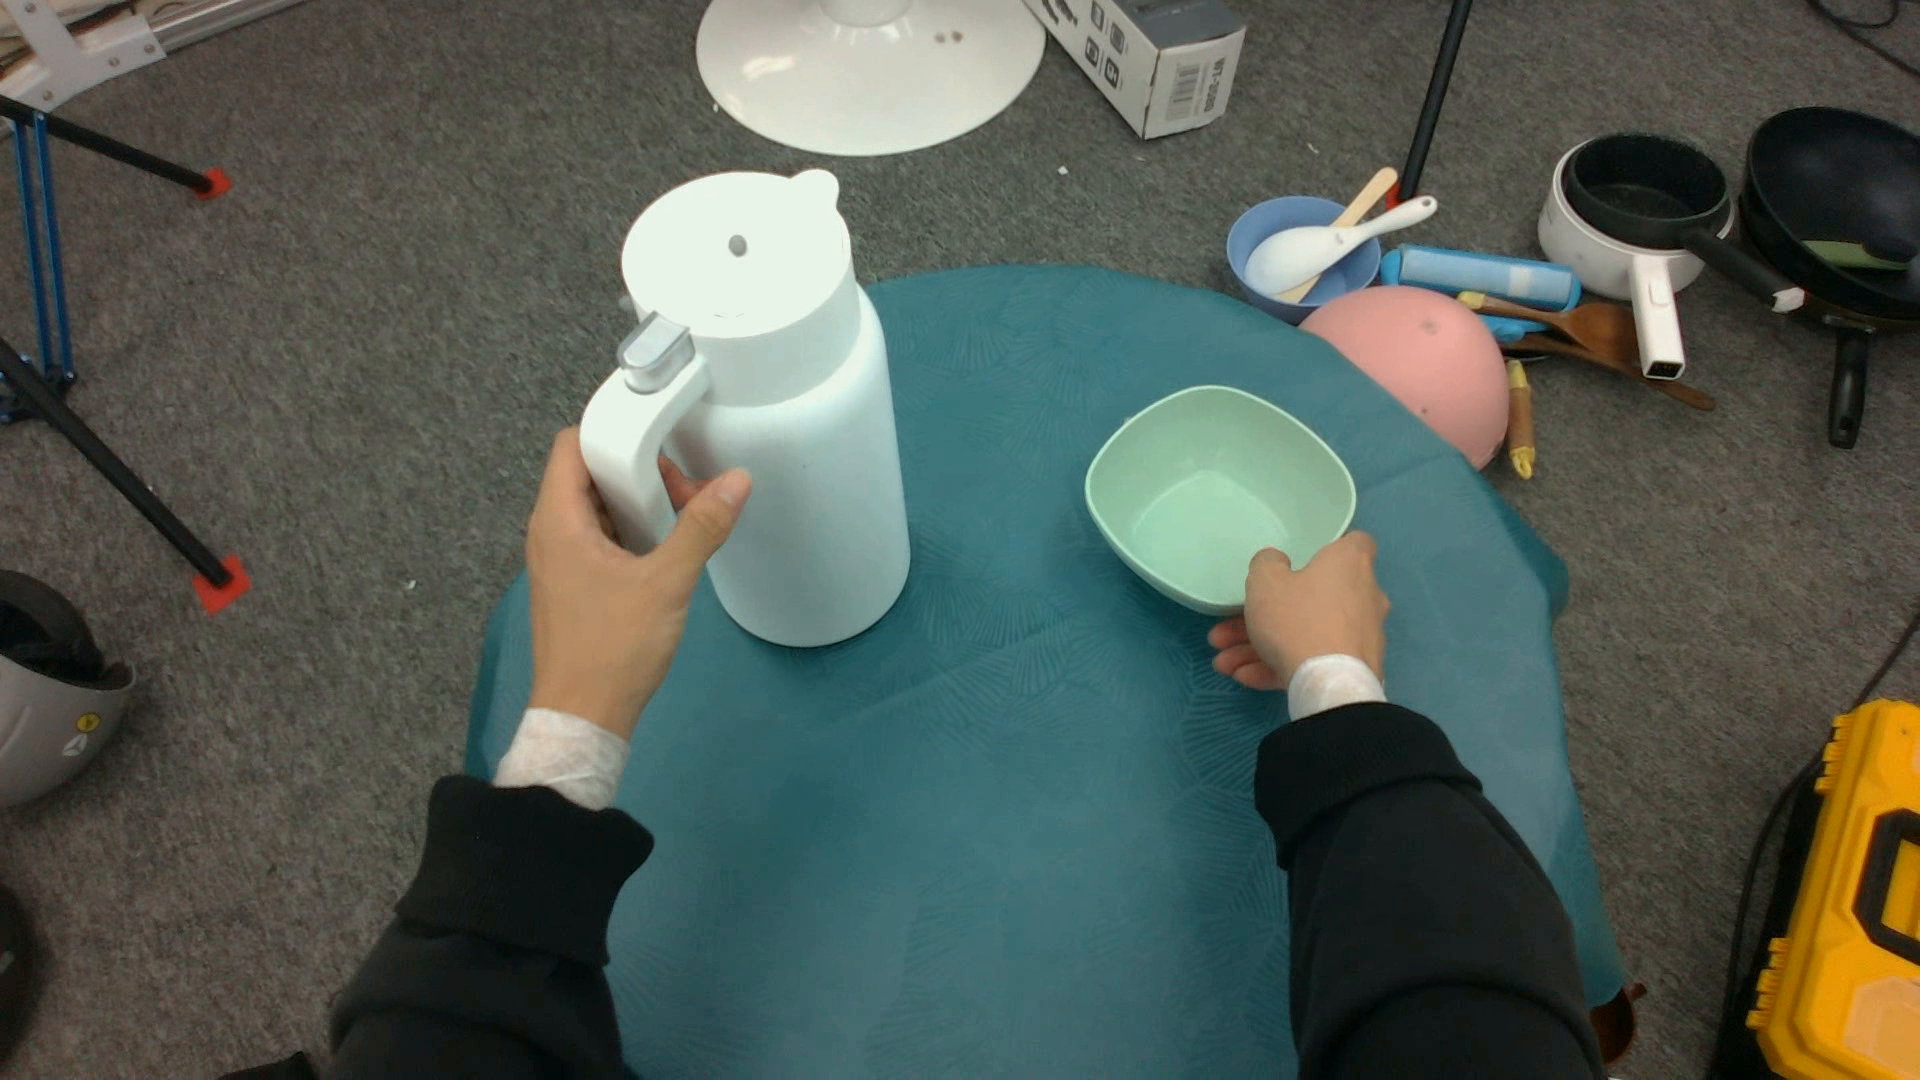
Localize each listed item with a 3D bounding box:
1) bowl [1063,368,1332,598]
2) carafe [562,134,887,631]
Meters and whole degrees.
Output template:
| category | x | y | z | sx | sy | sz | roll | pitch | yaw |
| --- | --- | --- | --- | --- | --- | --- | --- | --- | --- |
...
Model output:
| category | x | y | z | sx | sy | sz | roll | pitch | yaw |
| --- | --- | --- | --- | --- | --- | --- | --- | --- | --- |
| bowl | 0.134 | -0.024 | 0.798 | 0.151 | 0.058 | 0.152 | -1 | 58 | 1 |
| carafe | -0.110 | -0.051 | 0.694 | 0.124 | 0.267 | 0.173 | 26 | 62 | 14 |
